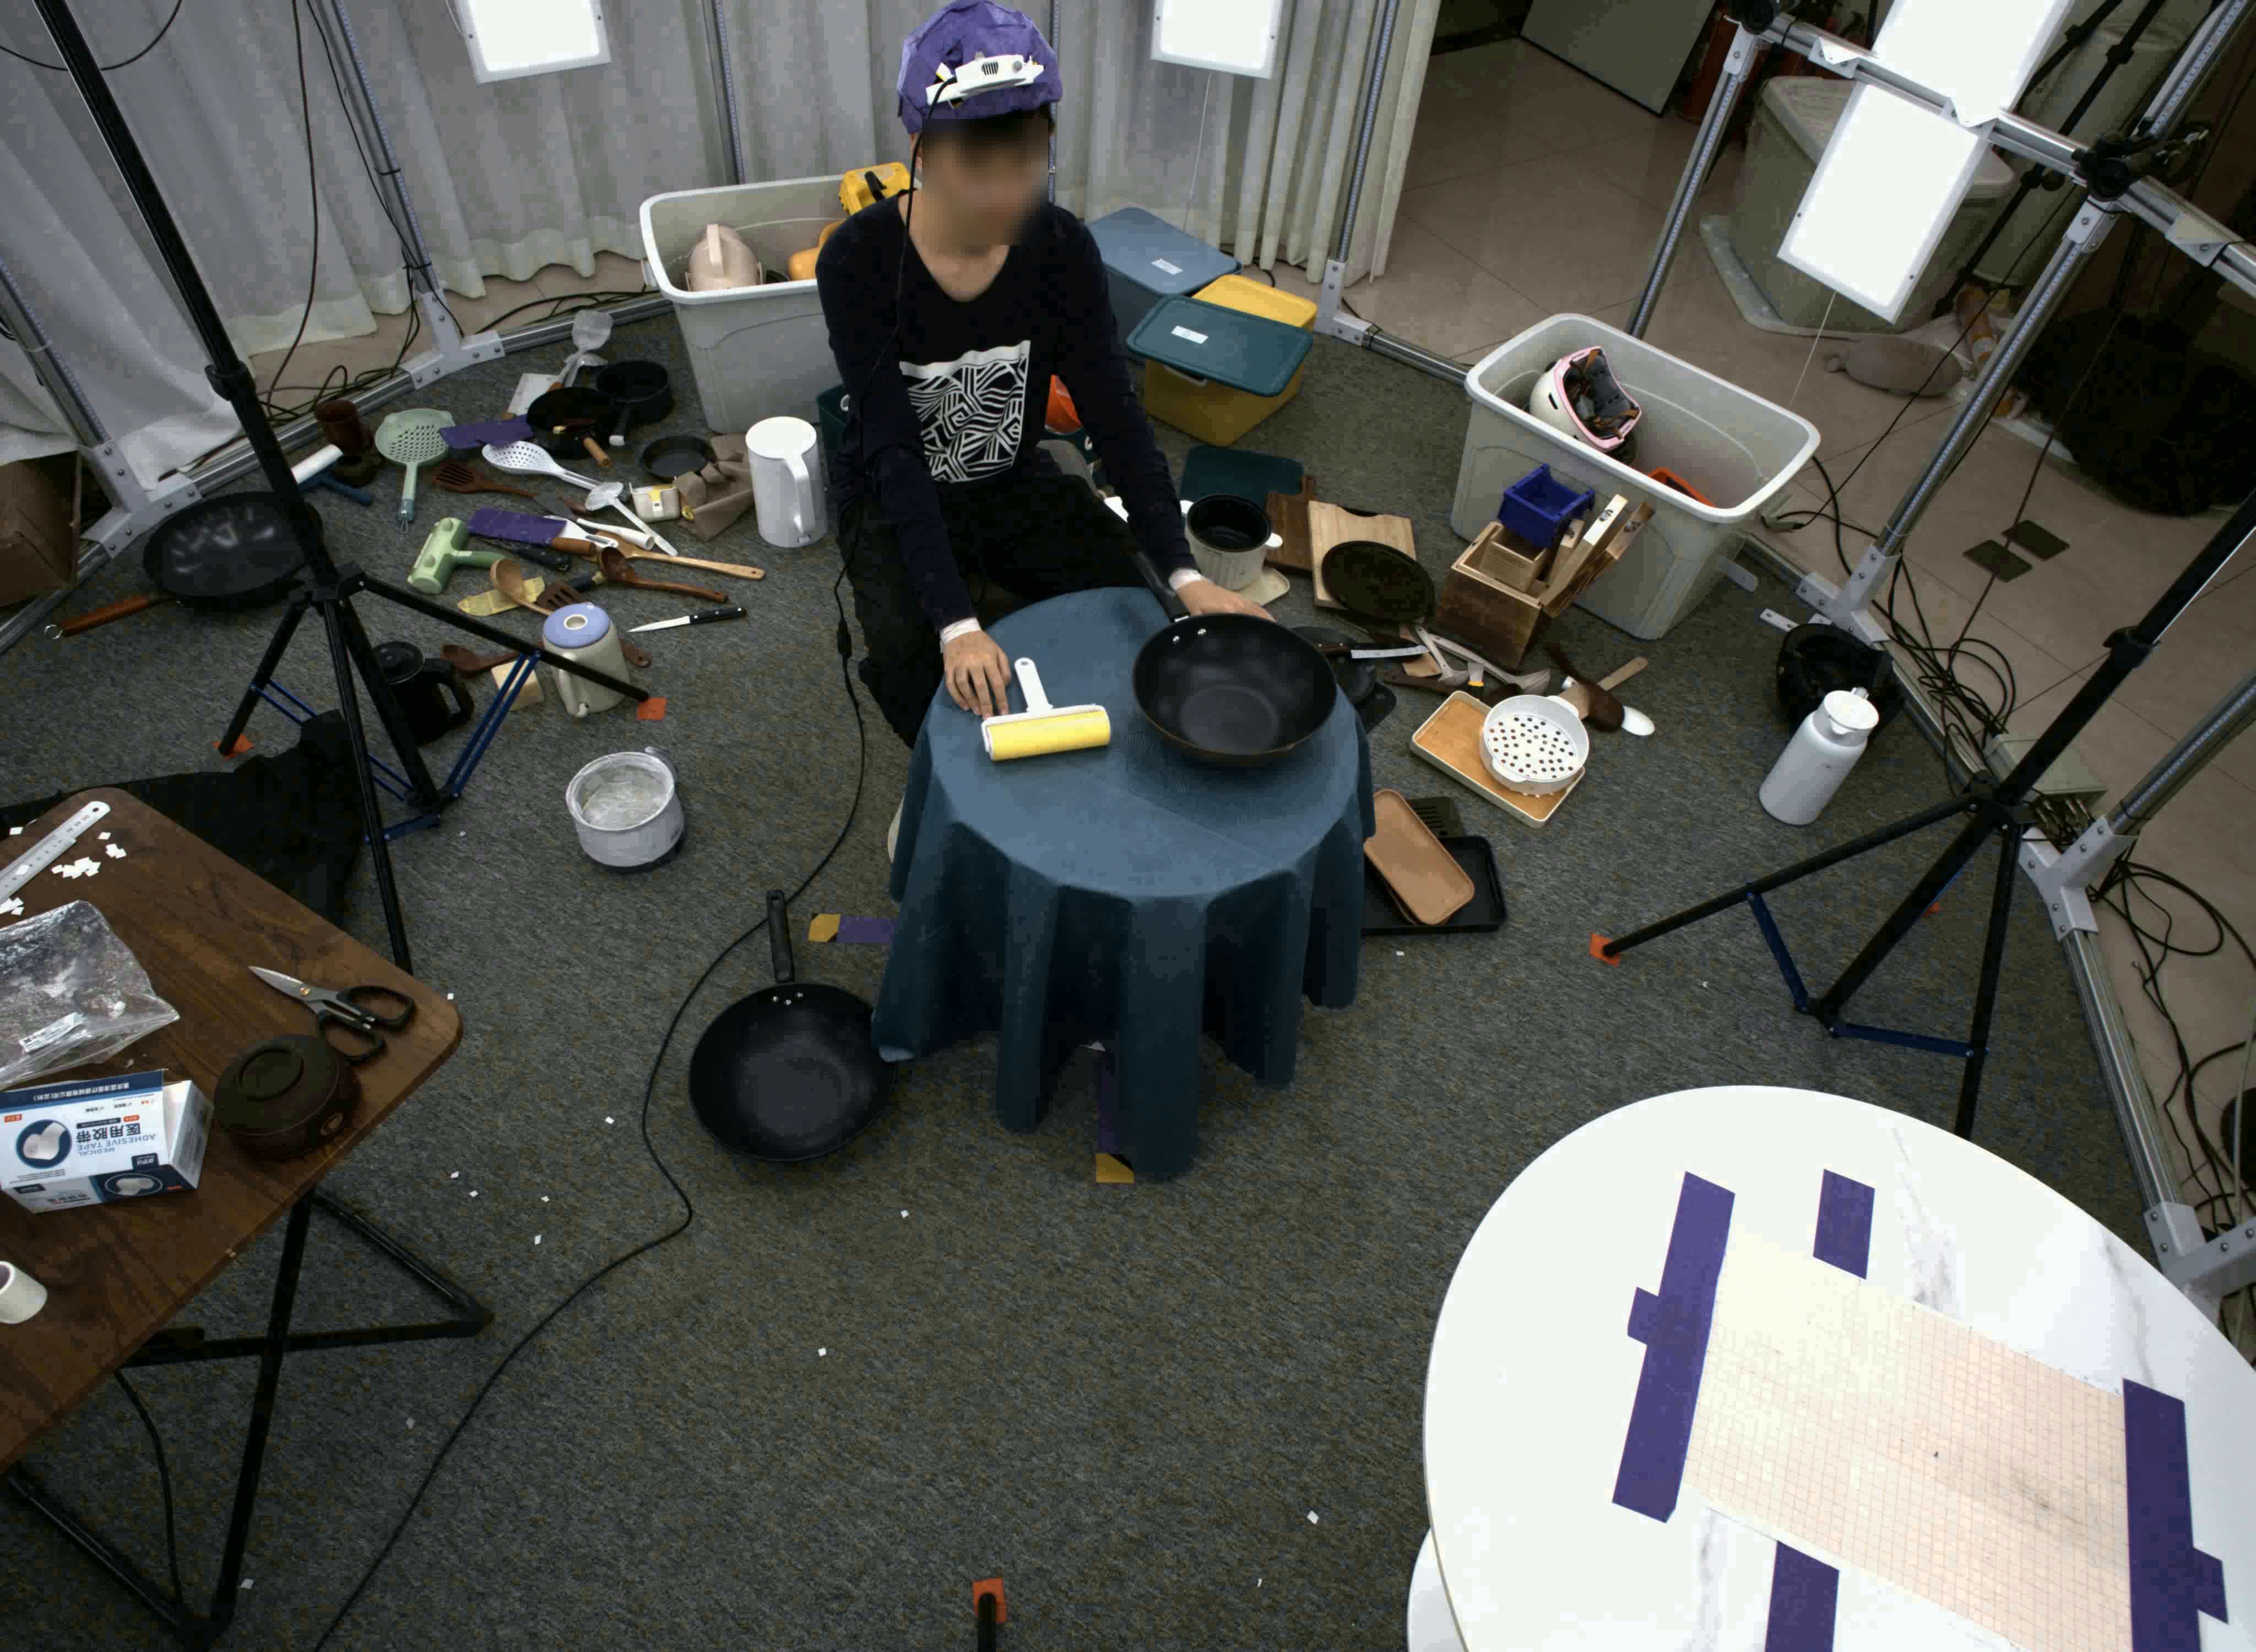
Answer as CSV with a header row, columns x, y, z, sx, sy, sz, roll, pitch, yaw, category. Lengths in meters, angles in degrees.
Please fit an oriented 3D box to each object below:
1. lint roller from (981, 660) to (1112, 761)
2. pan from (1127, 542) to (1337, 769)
x,y,z,sx,sy,sz,roll,pitch,yaw,category
-0.128,-0.176,1.780,0.174,0.050,0.197,-9,52,-13,lint roller
0.100,-0.238,1.827,0.288,0.085,0.474,-18,53,-20,pan
